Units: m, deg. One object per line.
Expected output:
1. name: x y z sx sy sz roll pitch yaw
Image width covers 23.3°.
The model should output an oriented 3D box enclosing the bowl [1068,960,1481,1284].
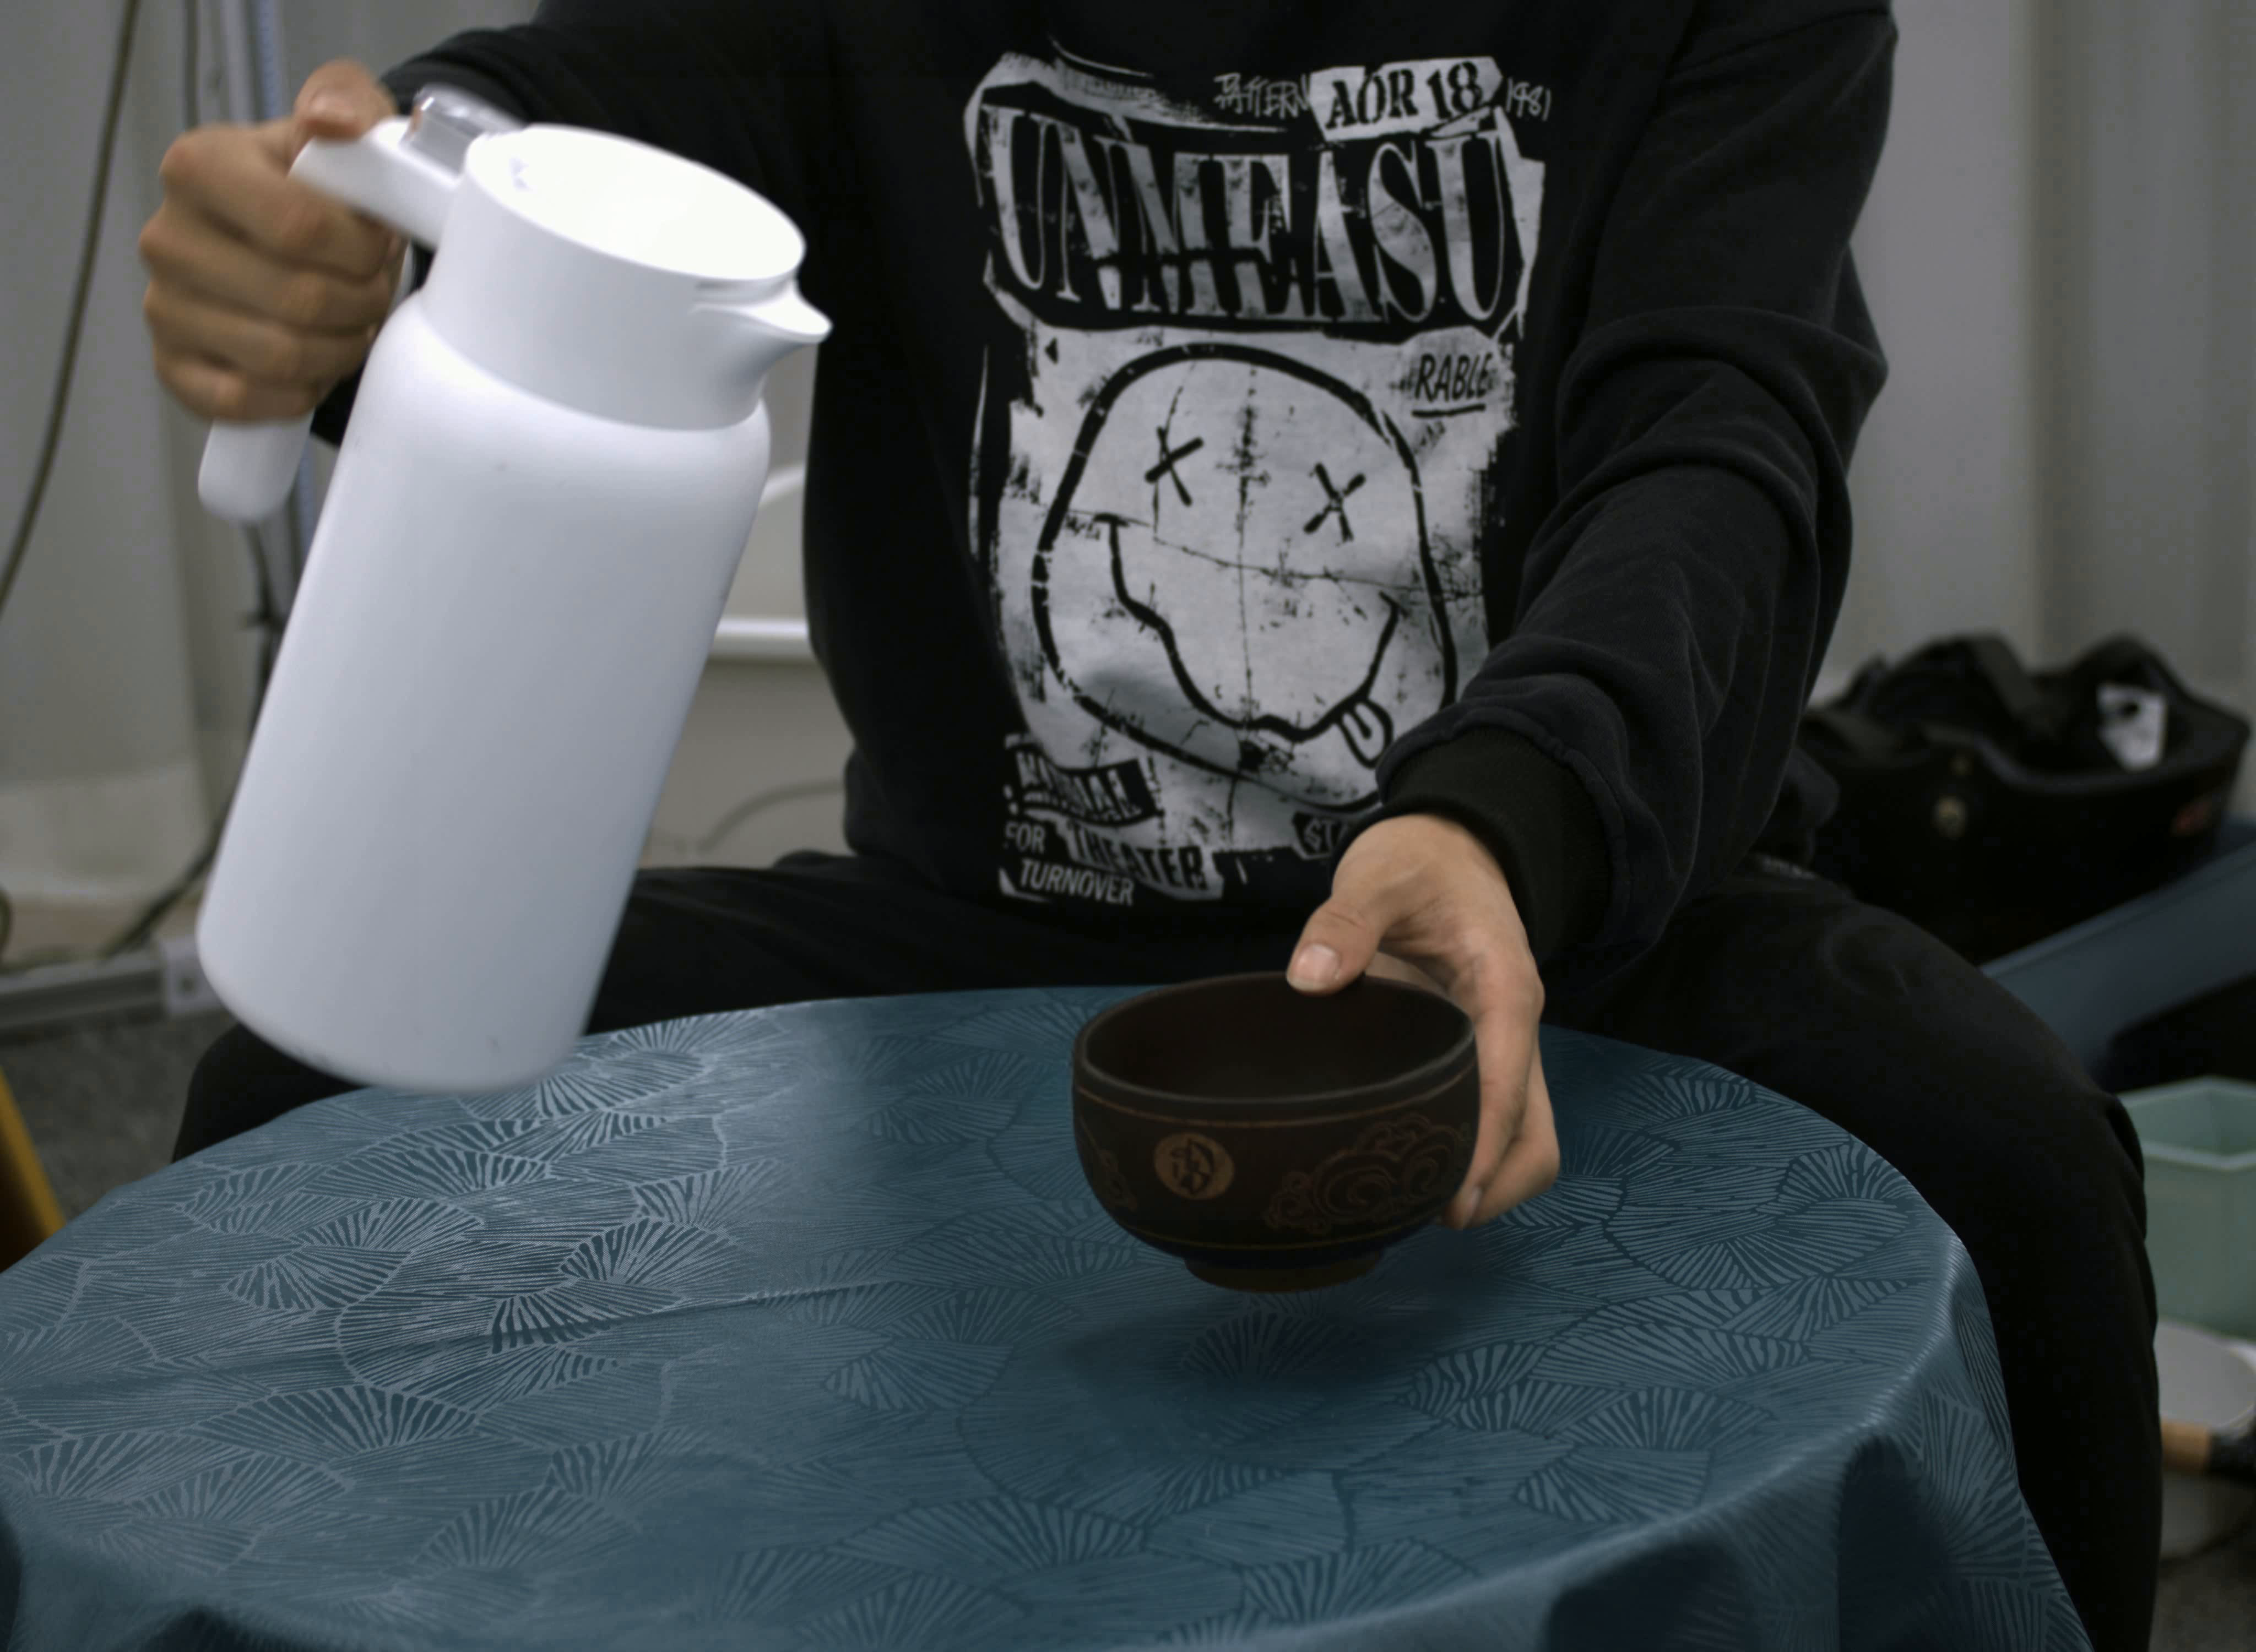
1. bowl: 0.043 0.089 1.563 0.117 0.069 0.119 -3 16 1

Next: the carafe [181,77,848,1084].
1. carafe: -0.193 -0.073 1.574 0.173 0.267 0.124 30 25 18
